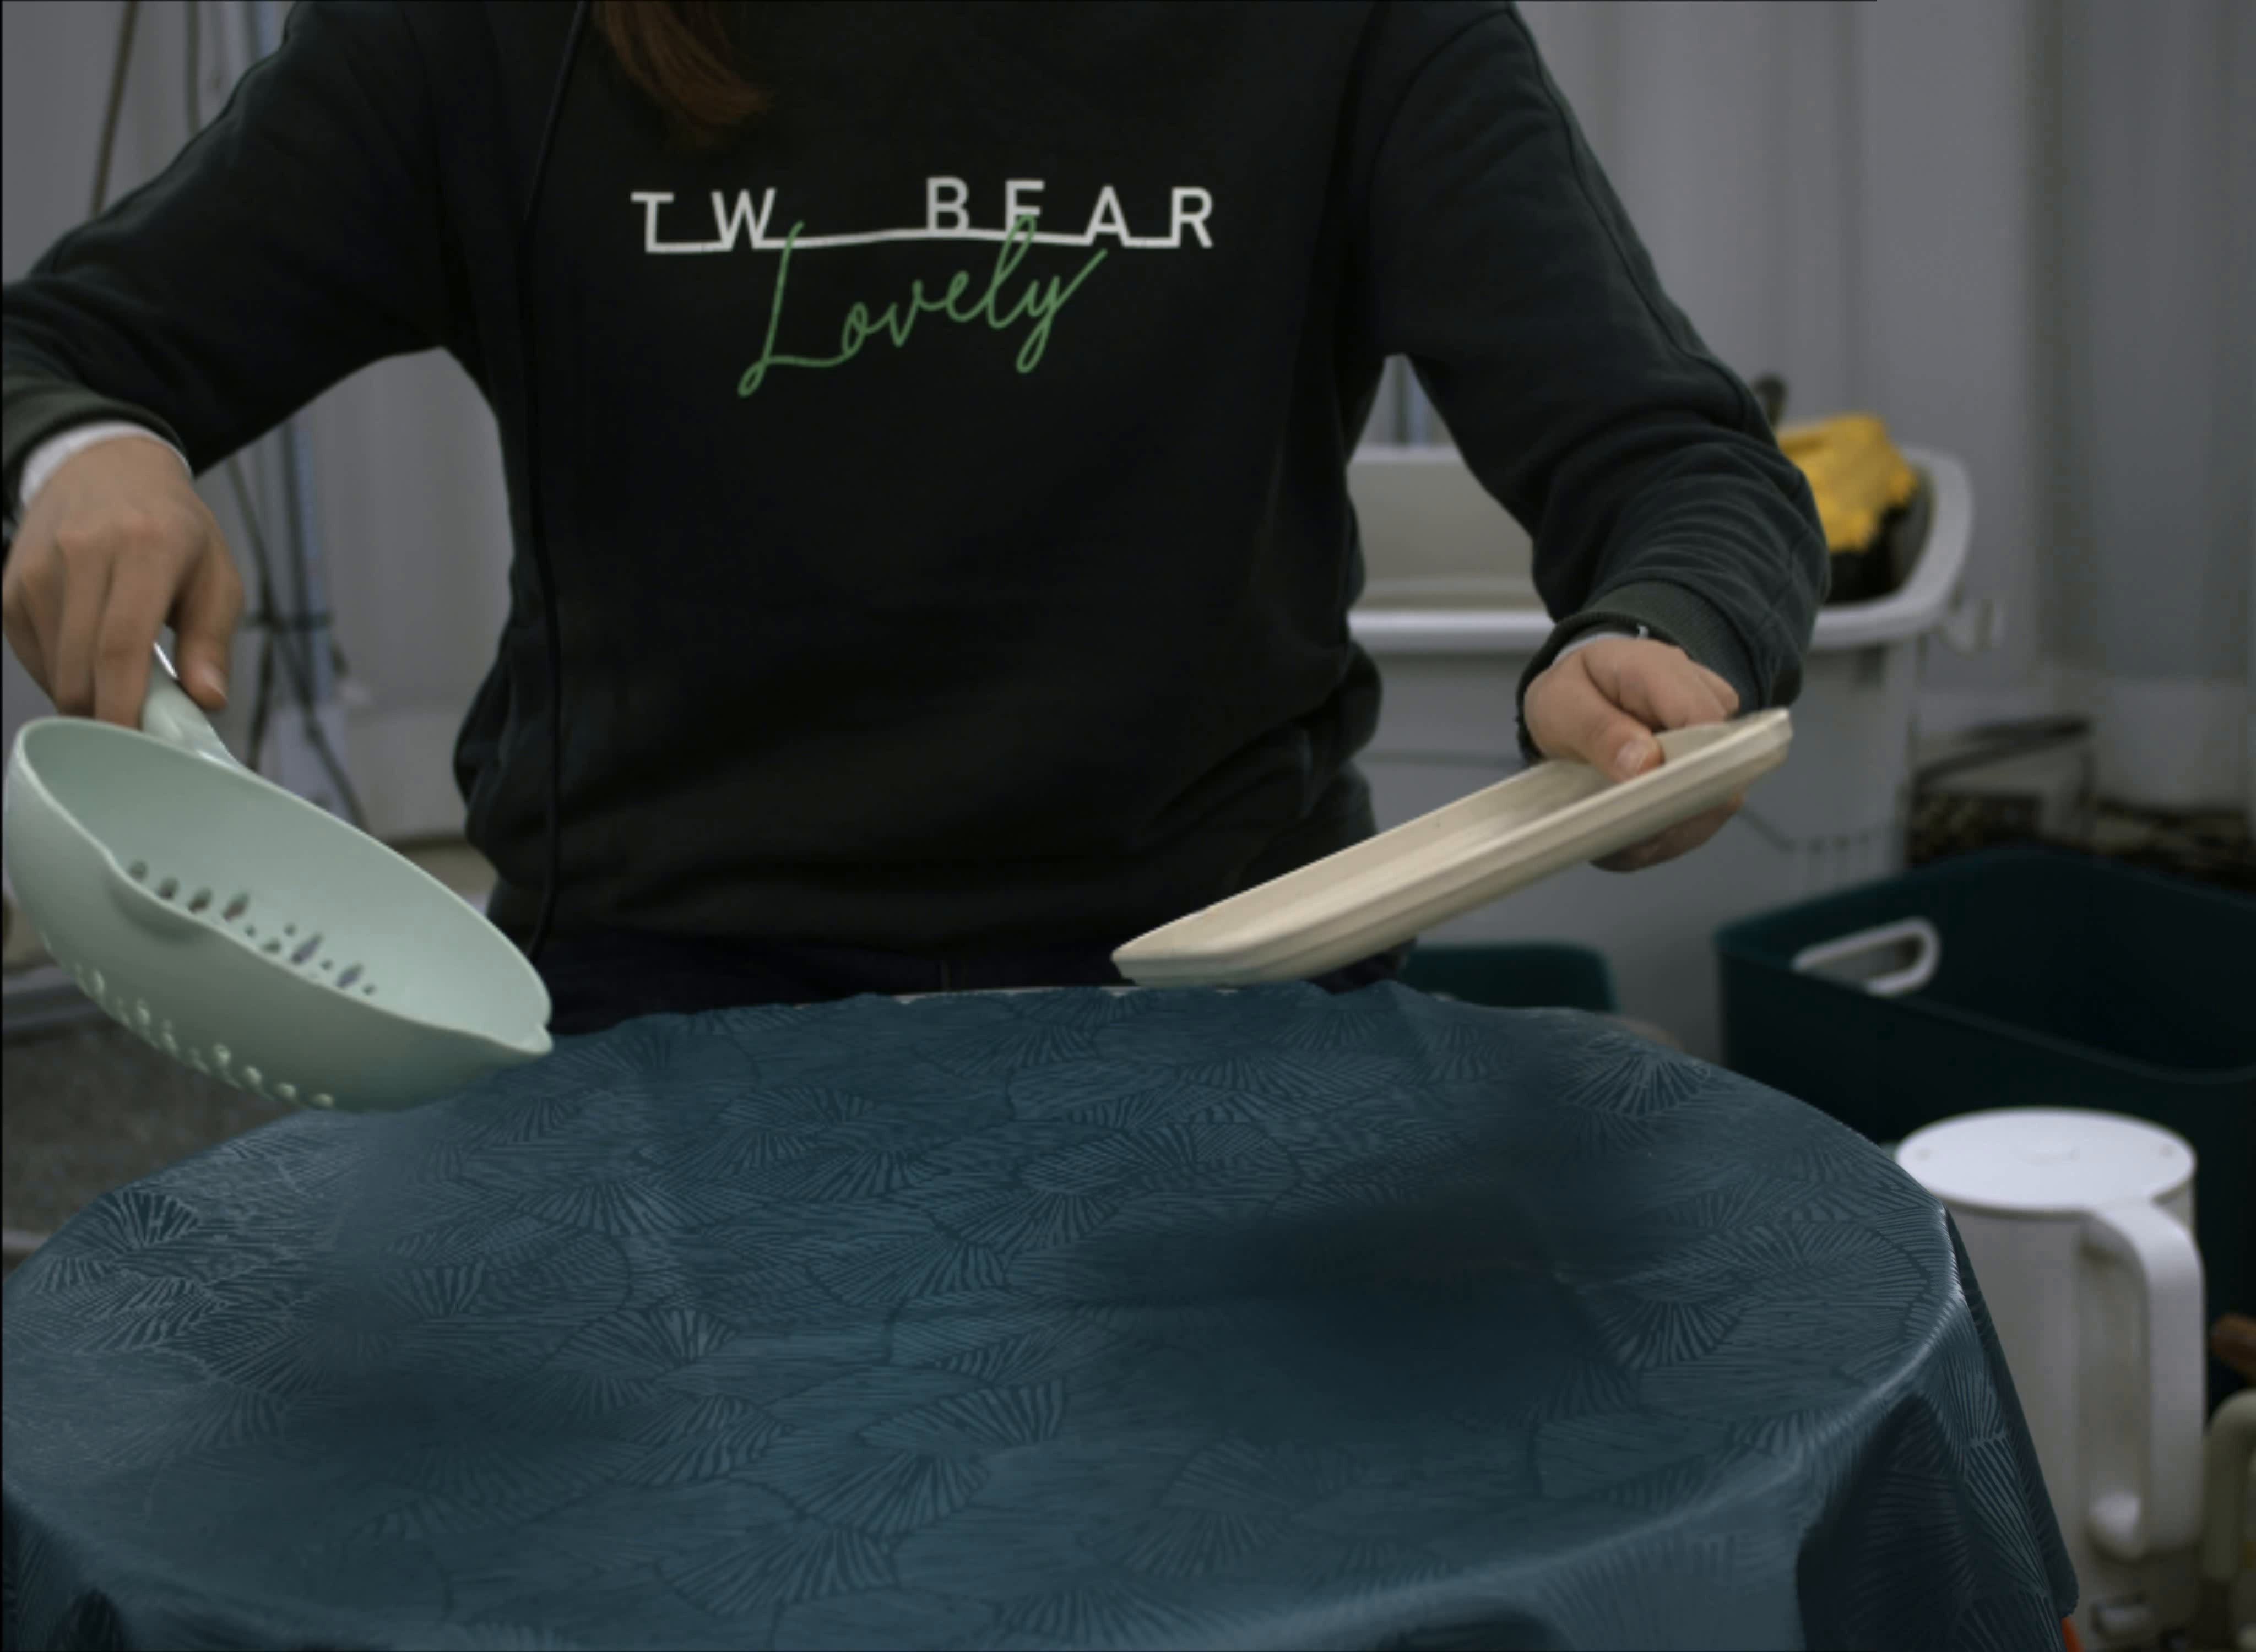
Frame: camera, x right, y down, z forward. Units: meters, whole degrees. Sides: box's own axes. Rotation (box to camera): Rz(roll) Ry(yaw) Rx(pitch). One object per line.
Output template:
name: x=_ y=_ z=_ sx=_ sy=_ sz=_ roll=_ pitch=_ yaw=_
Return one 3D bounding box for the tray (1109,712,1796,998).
tray: x=0.091 y=0.013 z=1.578 sx=0.171 sy=0.017 sz=0.239 roll=-22 pitch=1 yaw=-11

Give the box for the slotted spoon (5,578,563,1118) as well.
slotted spoon: x=-0.277 y=-0.011 z=1.626 sx=0.167 sy=0.075 sz=0.364 roll=26 pitch=18 yaw=-30
